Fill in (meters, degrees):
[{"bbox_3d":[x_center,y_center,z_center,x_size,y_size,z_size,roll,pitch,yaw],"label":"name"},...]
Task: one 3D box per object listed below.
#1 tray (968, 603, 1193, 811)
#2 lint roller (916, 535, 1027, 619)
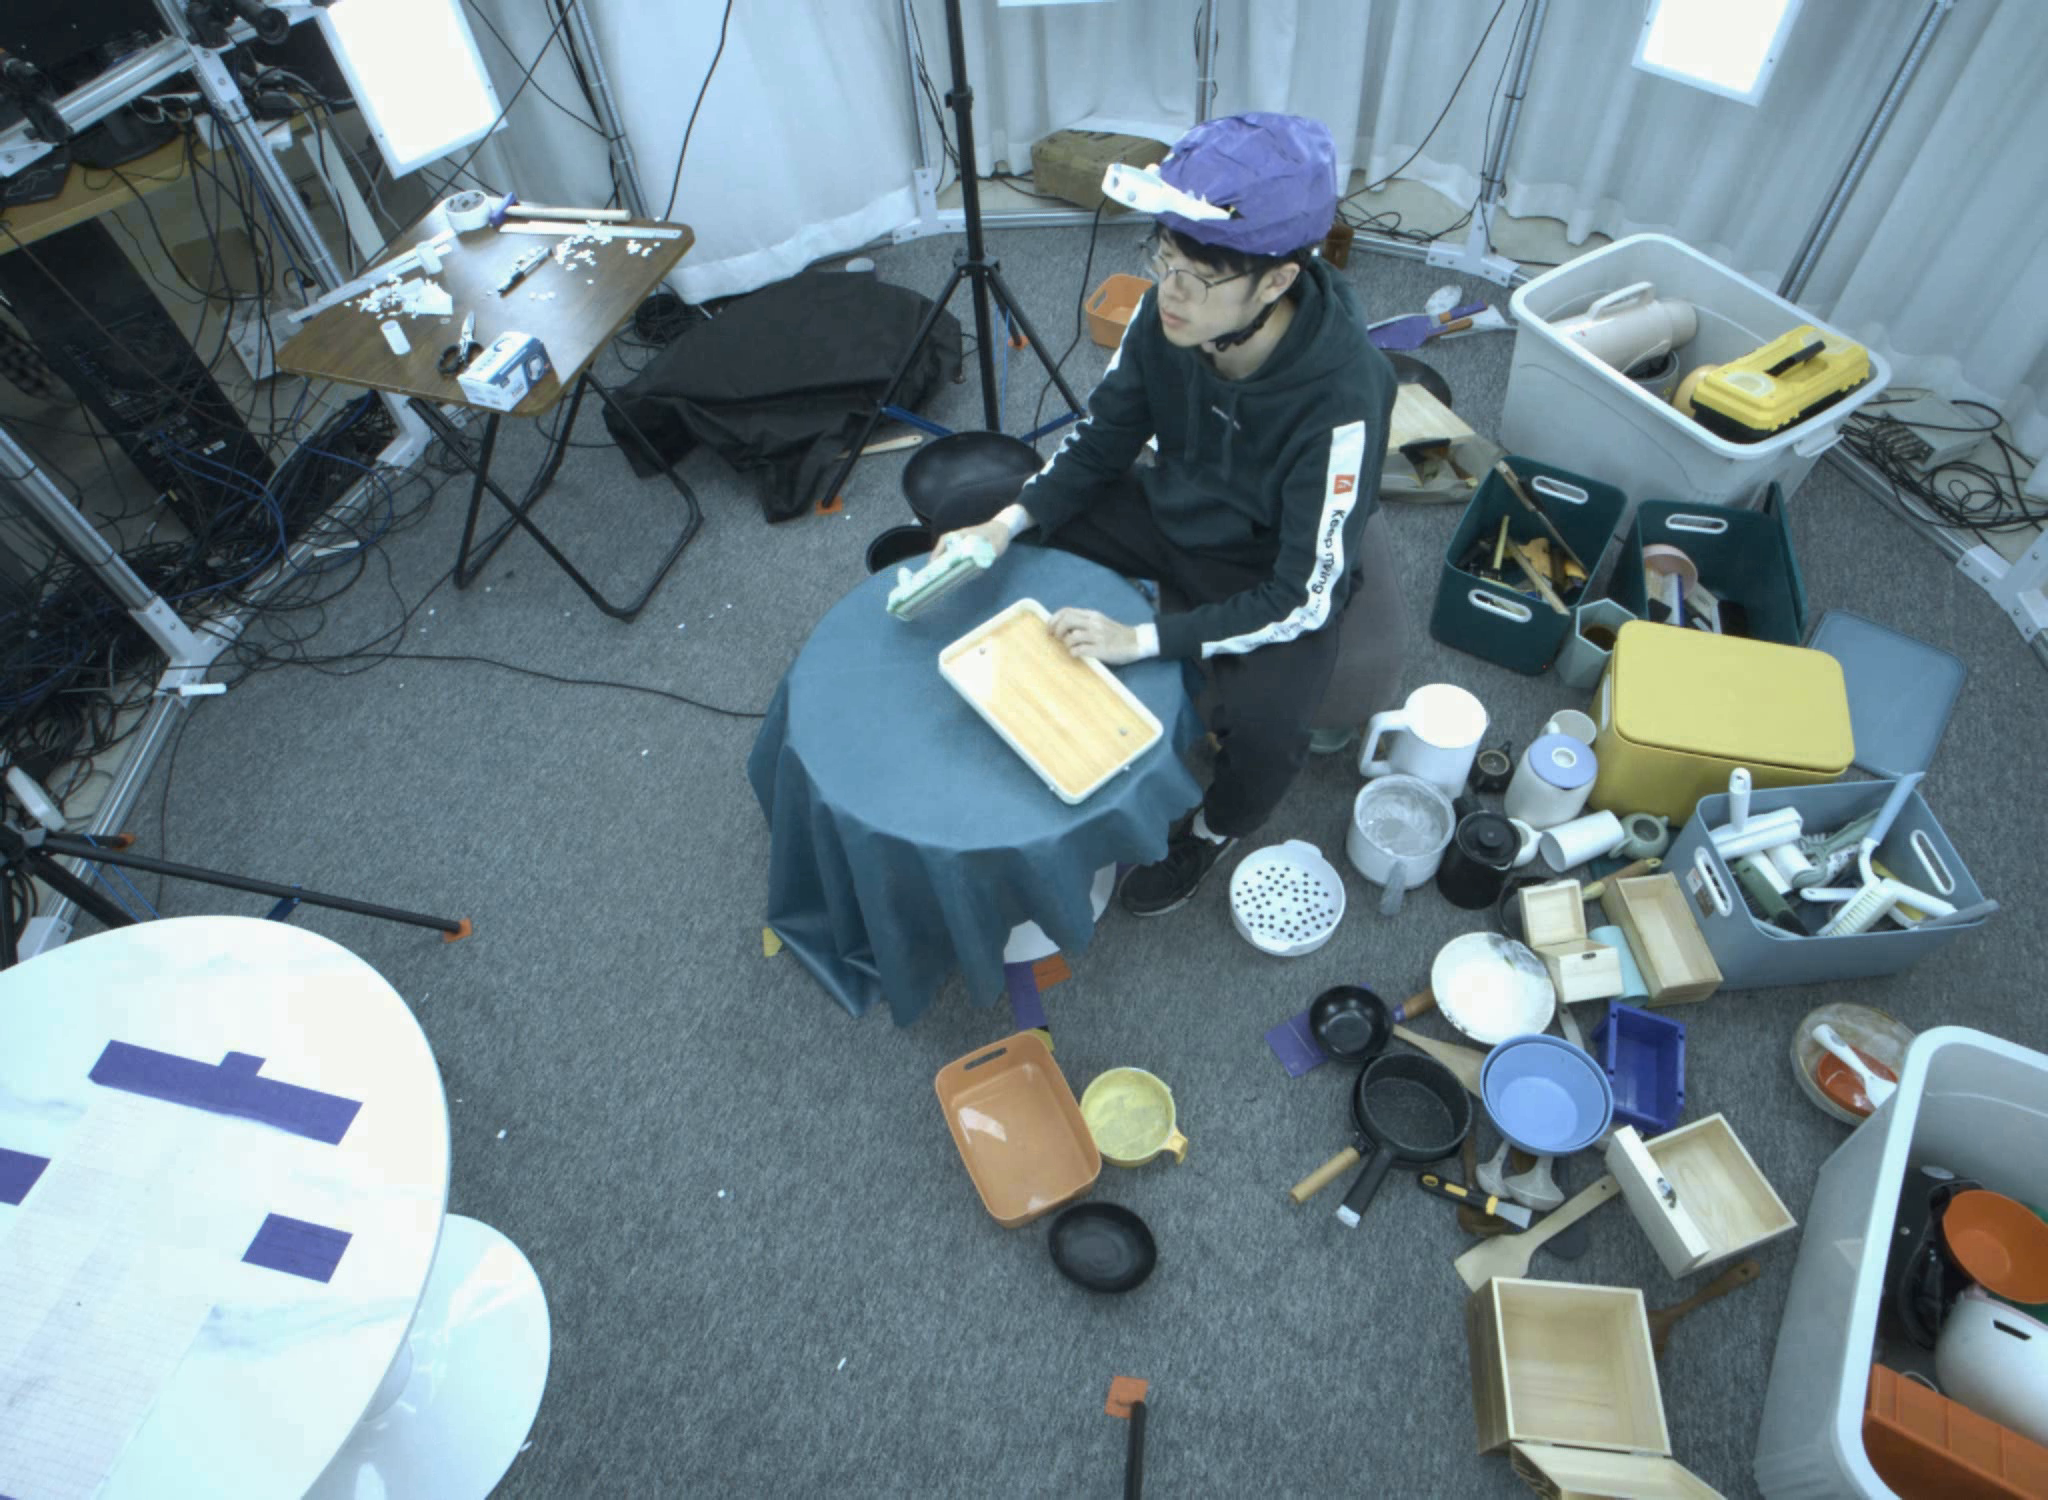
[{"bbox_3d":[0.080,-0.067,1.767,0.193,0.027,0.297,-35,73,-26],"label":"tray"},{"bbox_3d":[-0.061,-0.290,1.890,0.083,0.195,0.184,55,41,-14],"label":"lint roller"}]
